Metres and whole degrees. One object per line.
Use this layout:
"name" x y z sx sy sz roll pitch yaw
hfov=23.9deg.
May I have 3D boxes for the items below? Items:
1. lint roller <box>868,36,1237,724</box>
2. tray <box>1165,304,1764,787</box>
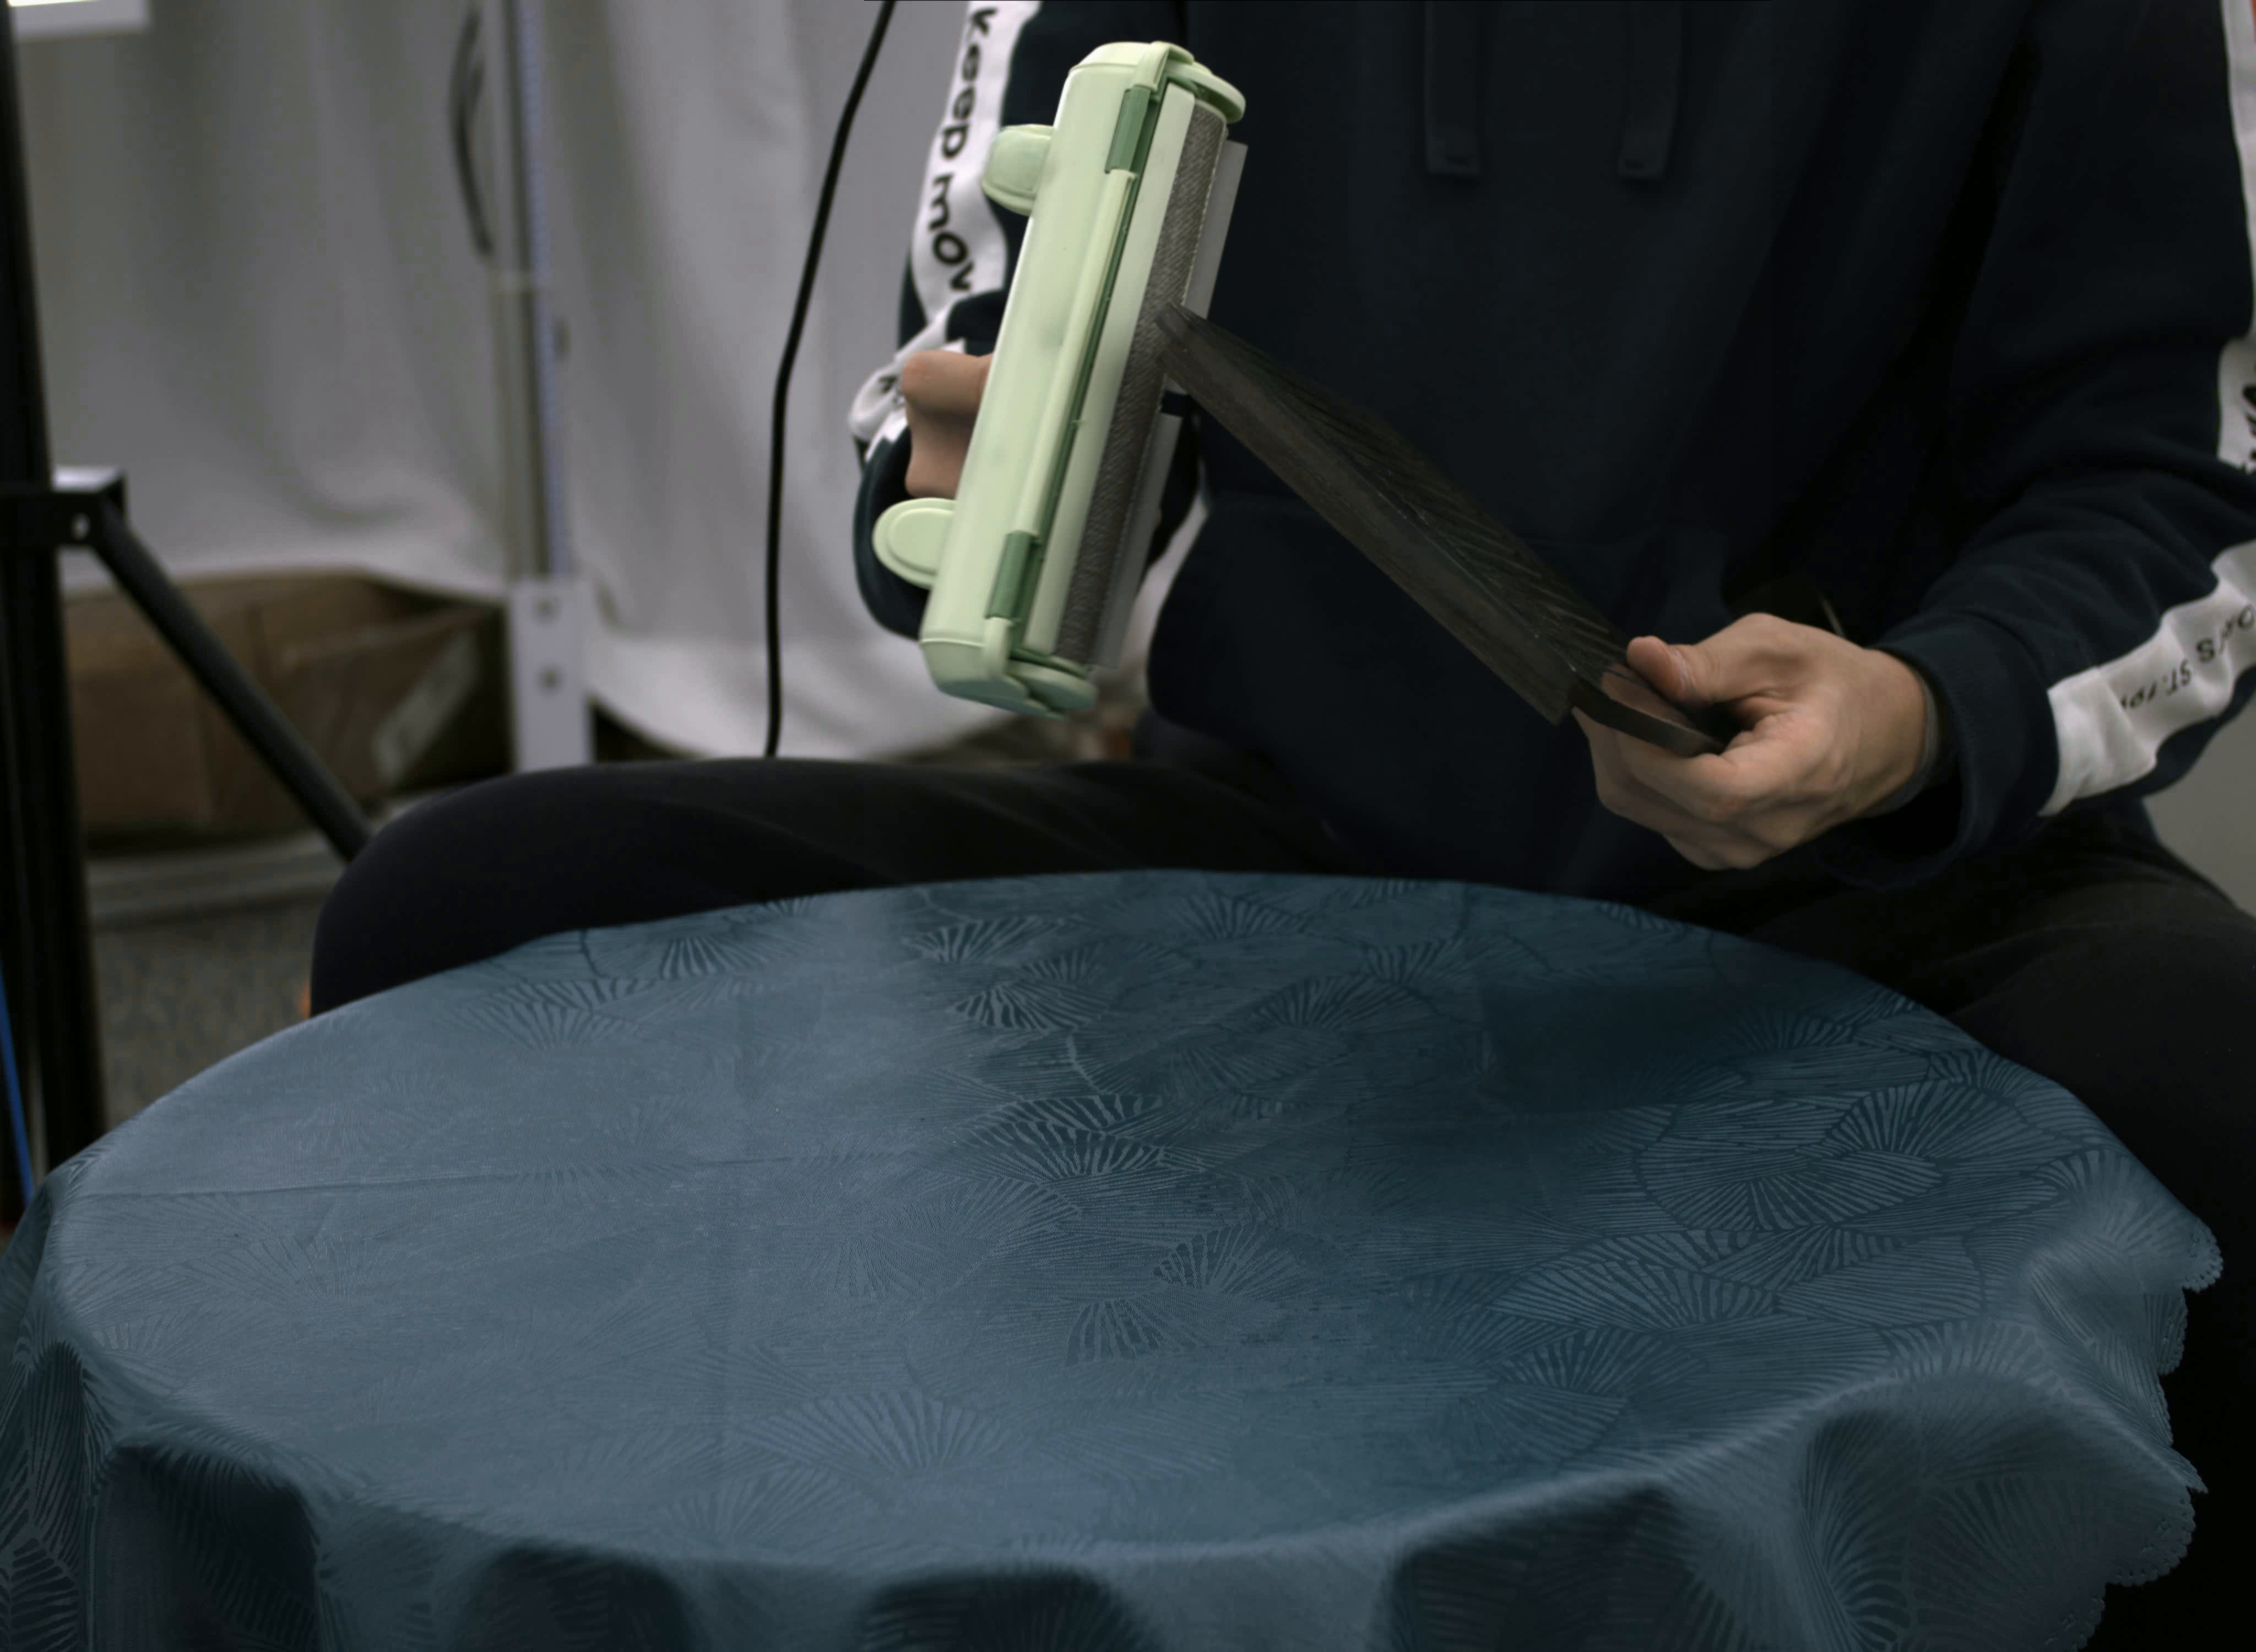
"lint roller" -0.033 -0.128 1.612 0.081 0.199 0.185 16 -8 -11
"tray" 0.104 -0.075 1.580 0.172 0.018 0.302 43 8 13
